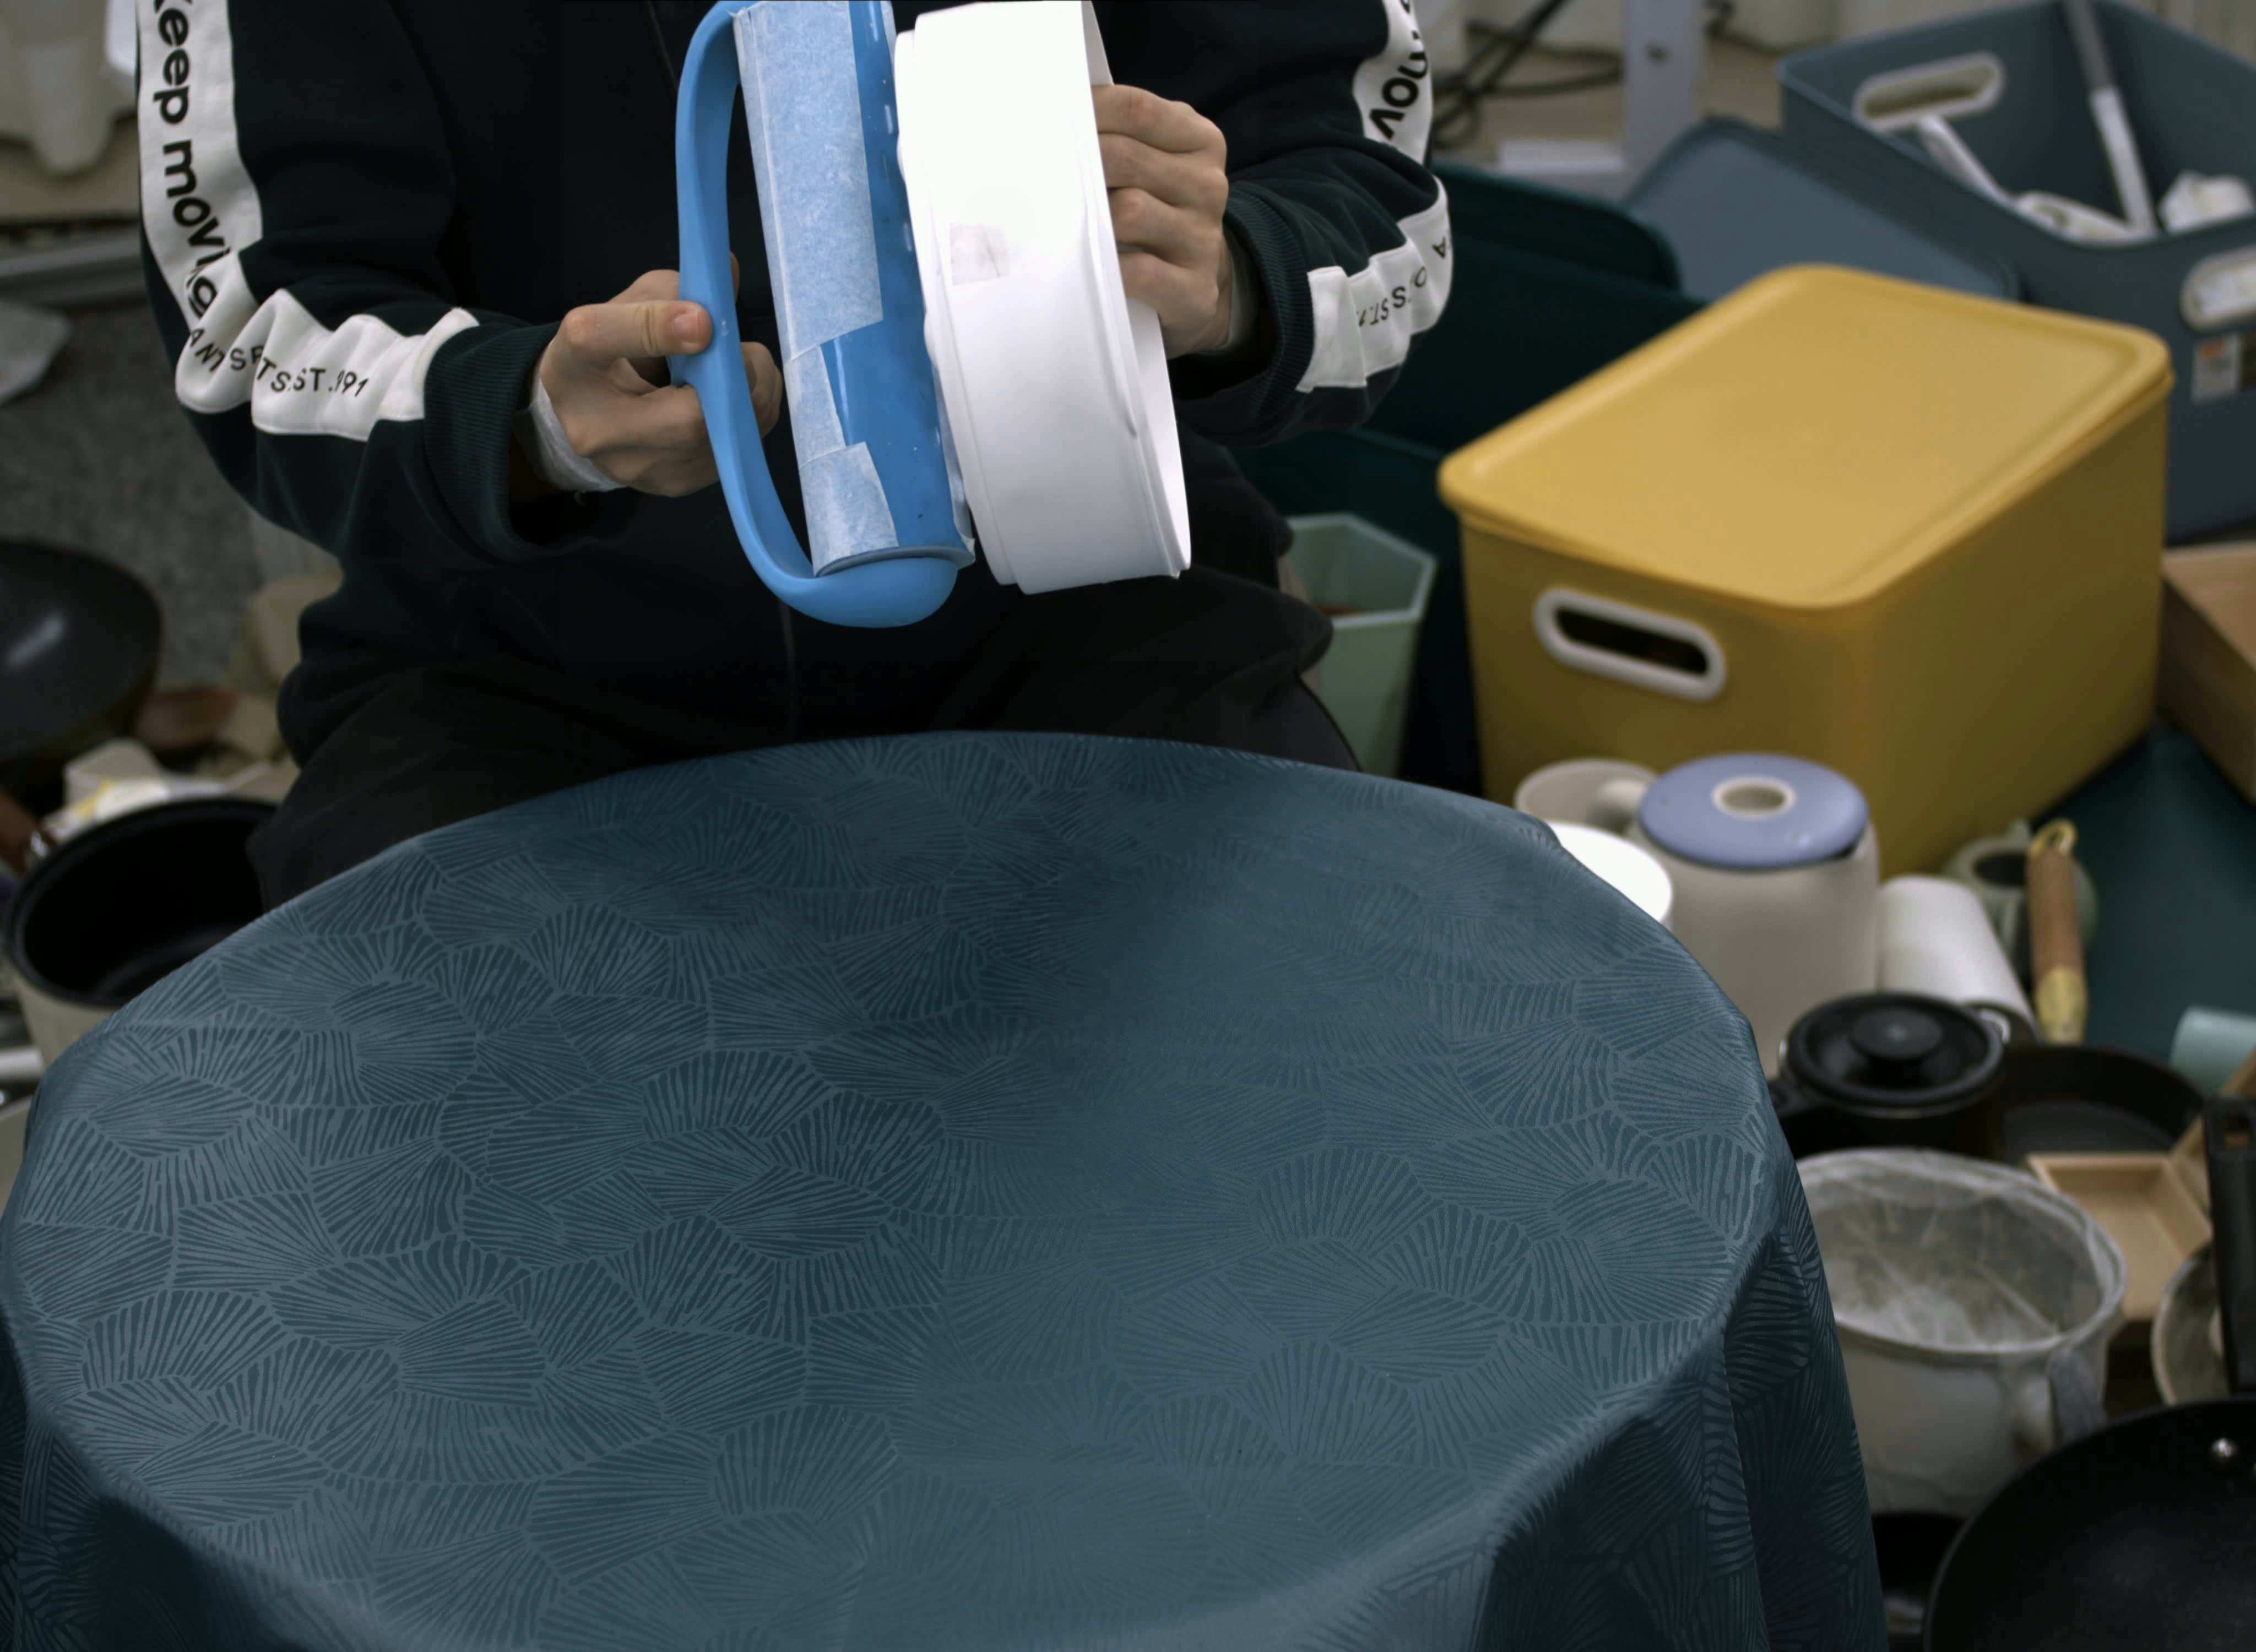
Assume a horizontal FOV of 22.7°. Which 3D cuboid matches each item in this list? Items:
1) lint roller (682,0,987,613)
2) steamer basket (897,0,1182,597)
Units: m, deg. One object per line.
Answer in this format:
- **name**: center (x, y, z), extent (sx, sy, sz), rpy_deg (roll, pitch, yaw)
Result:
- **lint roller**: center (-0.117, -0.163, 1.904), extent (0.068, 0.231, 0.177), rpy_deg (-4, -17, -33)
- **steamer basket**: center (-0.030, -0.175, 1.850), extent (0.069, 0.201, 0.232), rpy_deg (-9, 12, 2)
